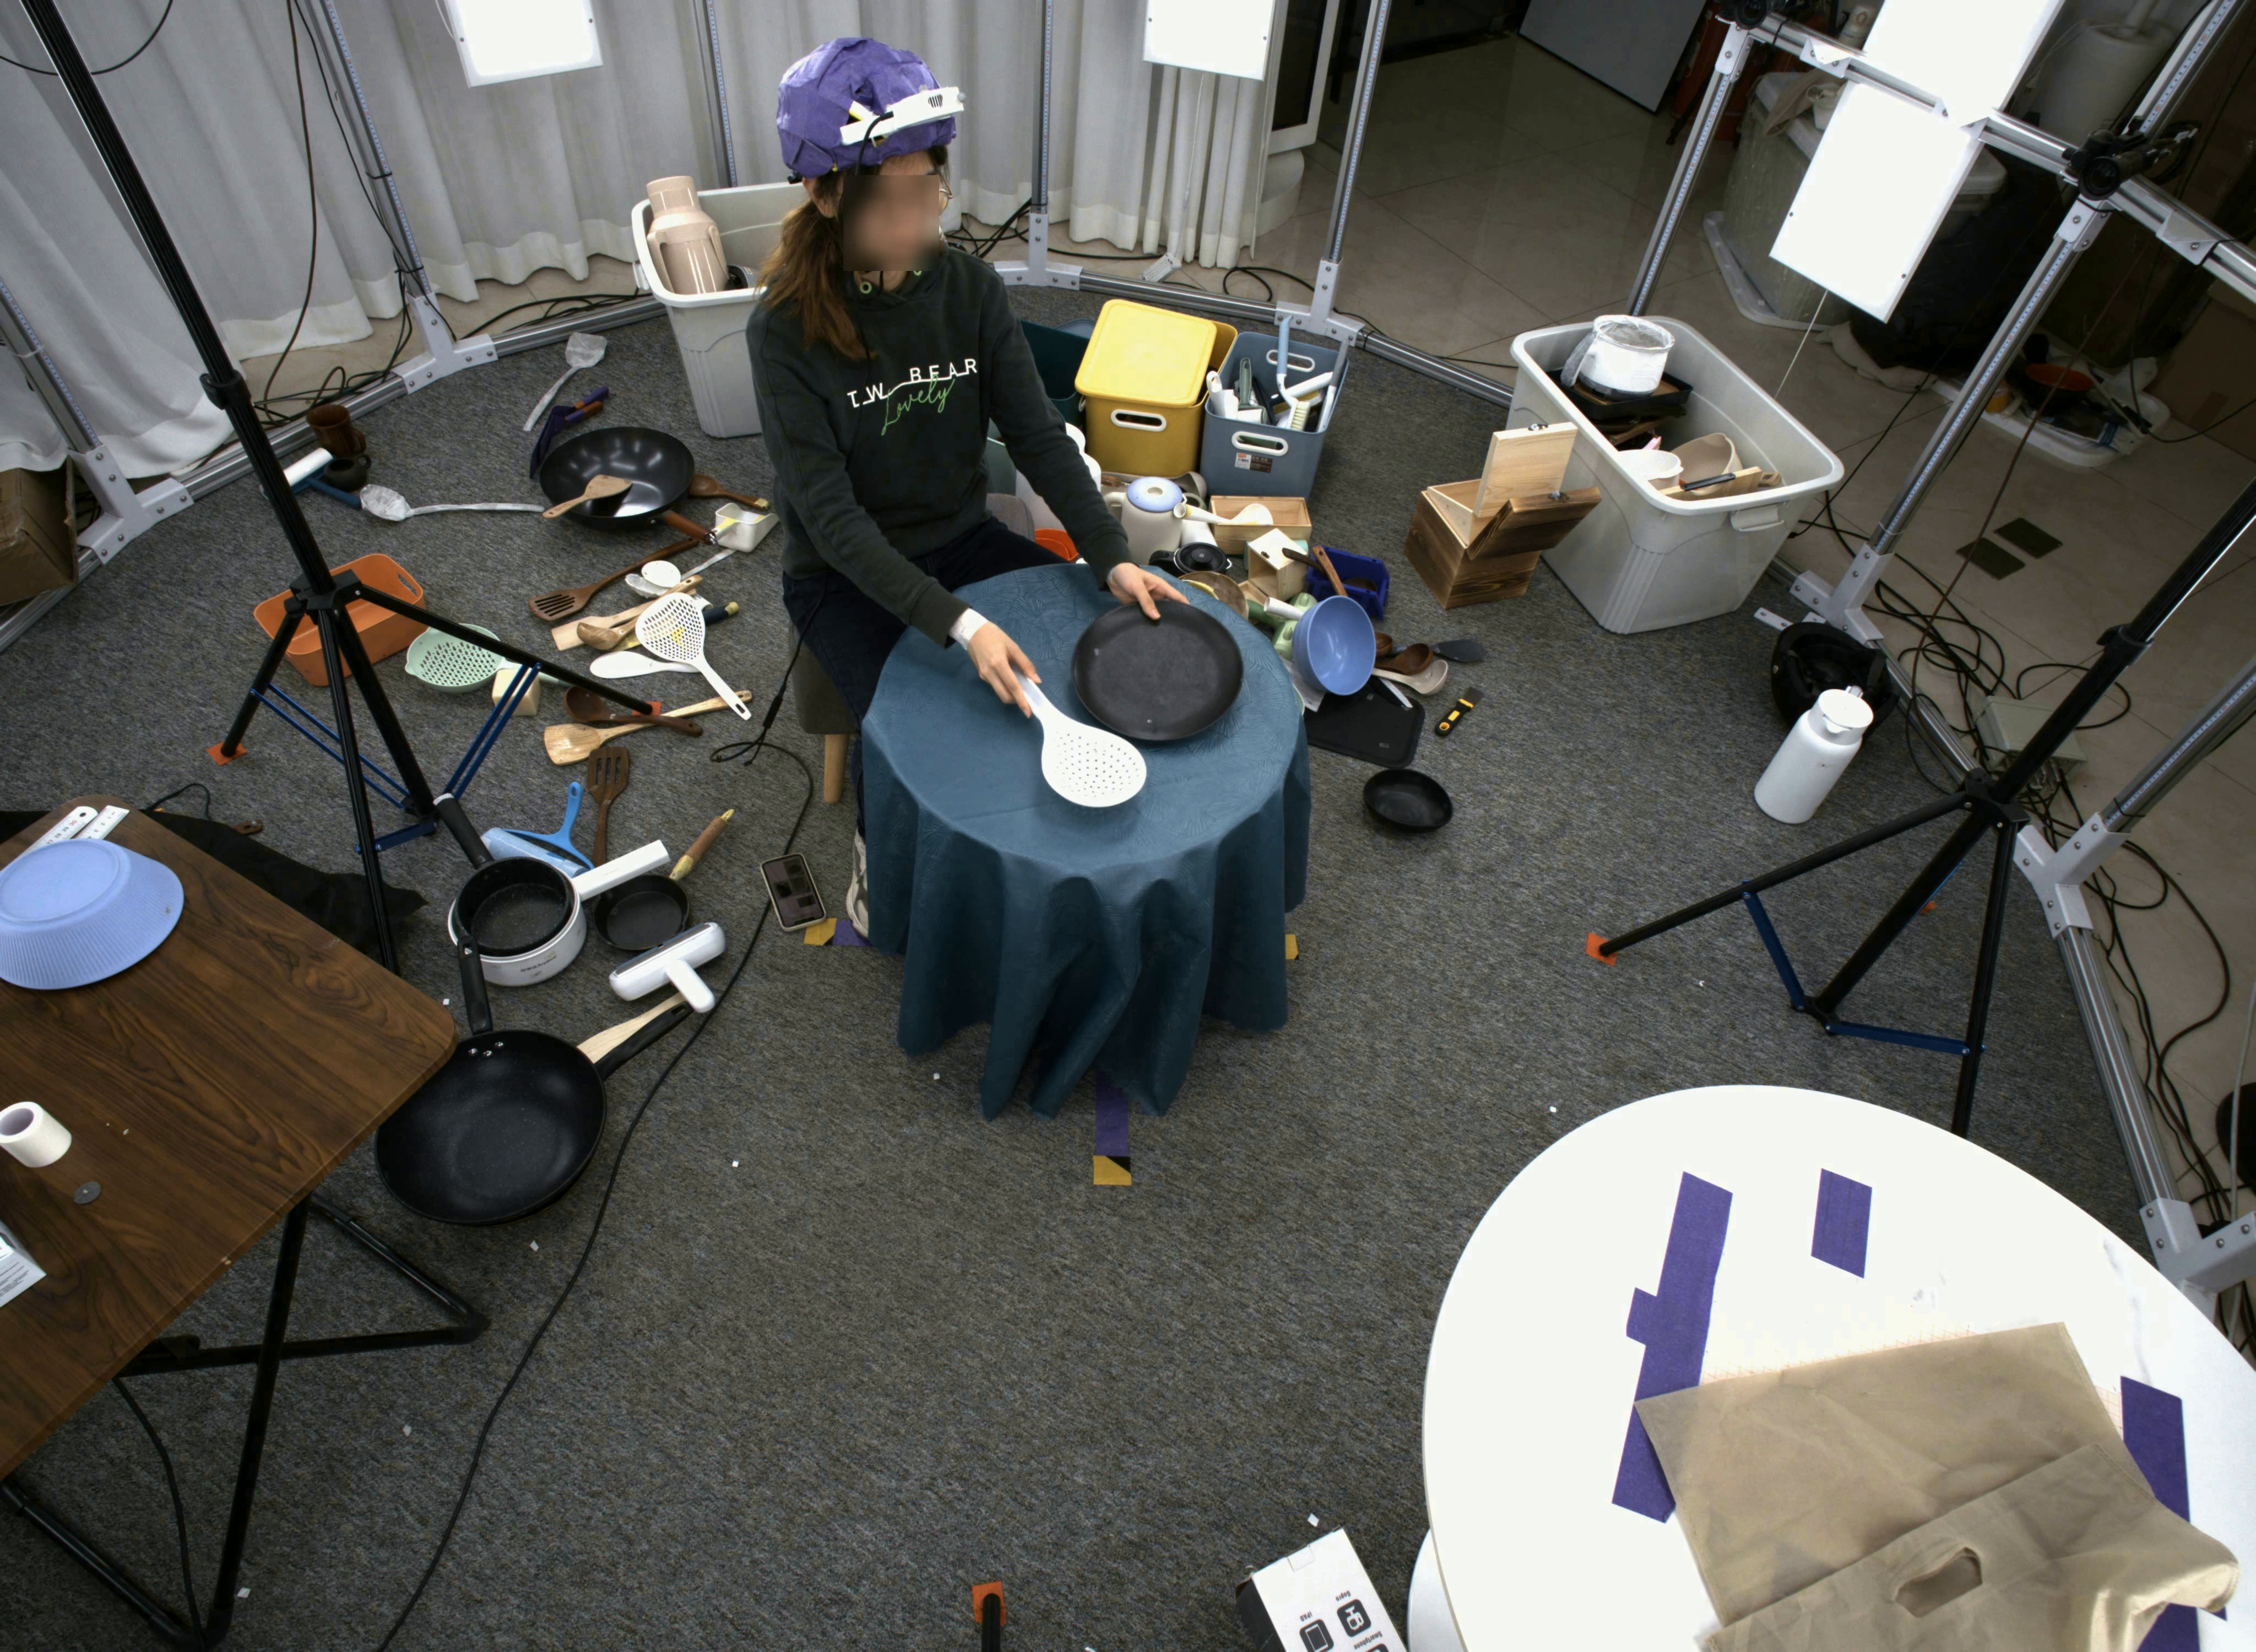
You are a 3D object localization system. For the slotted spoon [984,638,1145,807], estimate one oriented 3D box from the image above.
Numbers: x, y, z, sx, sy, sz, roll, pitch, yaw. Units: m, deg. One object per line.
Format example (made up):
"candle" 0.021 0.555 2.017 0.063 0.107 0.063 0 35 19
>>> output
"slotted spoon" -0.104 -0.145 1.751 0.136 0.045 0.356 -21 58 -26

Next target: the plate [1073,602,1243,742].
"plate" 0.043 -0.219 1.835 0.244 0.023 0.250 0 59 0
